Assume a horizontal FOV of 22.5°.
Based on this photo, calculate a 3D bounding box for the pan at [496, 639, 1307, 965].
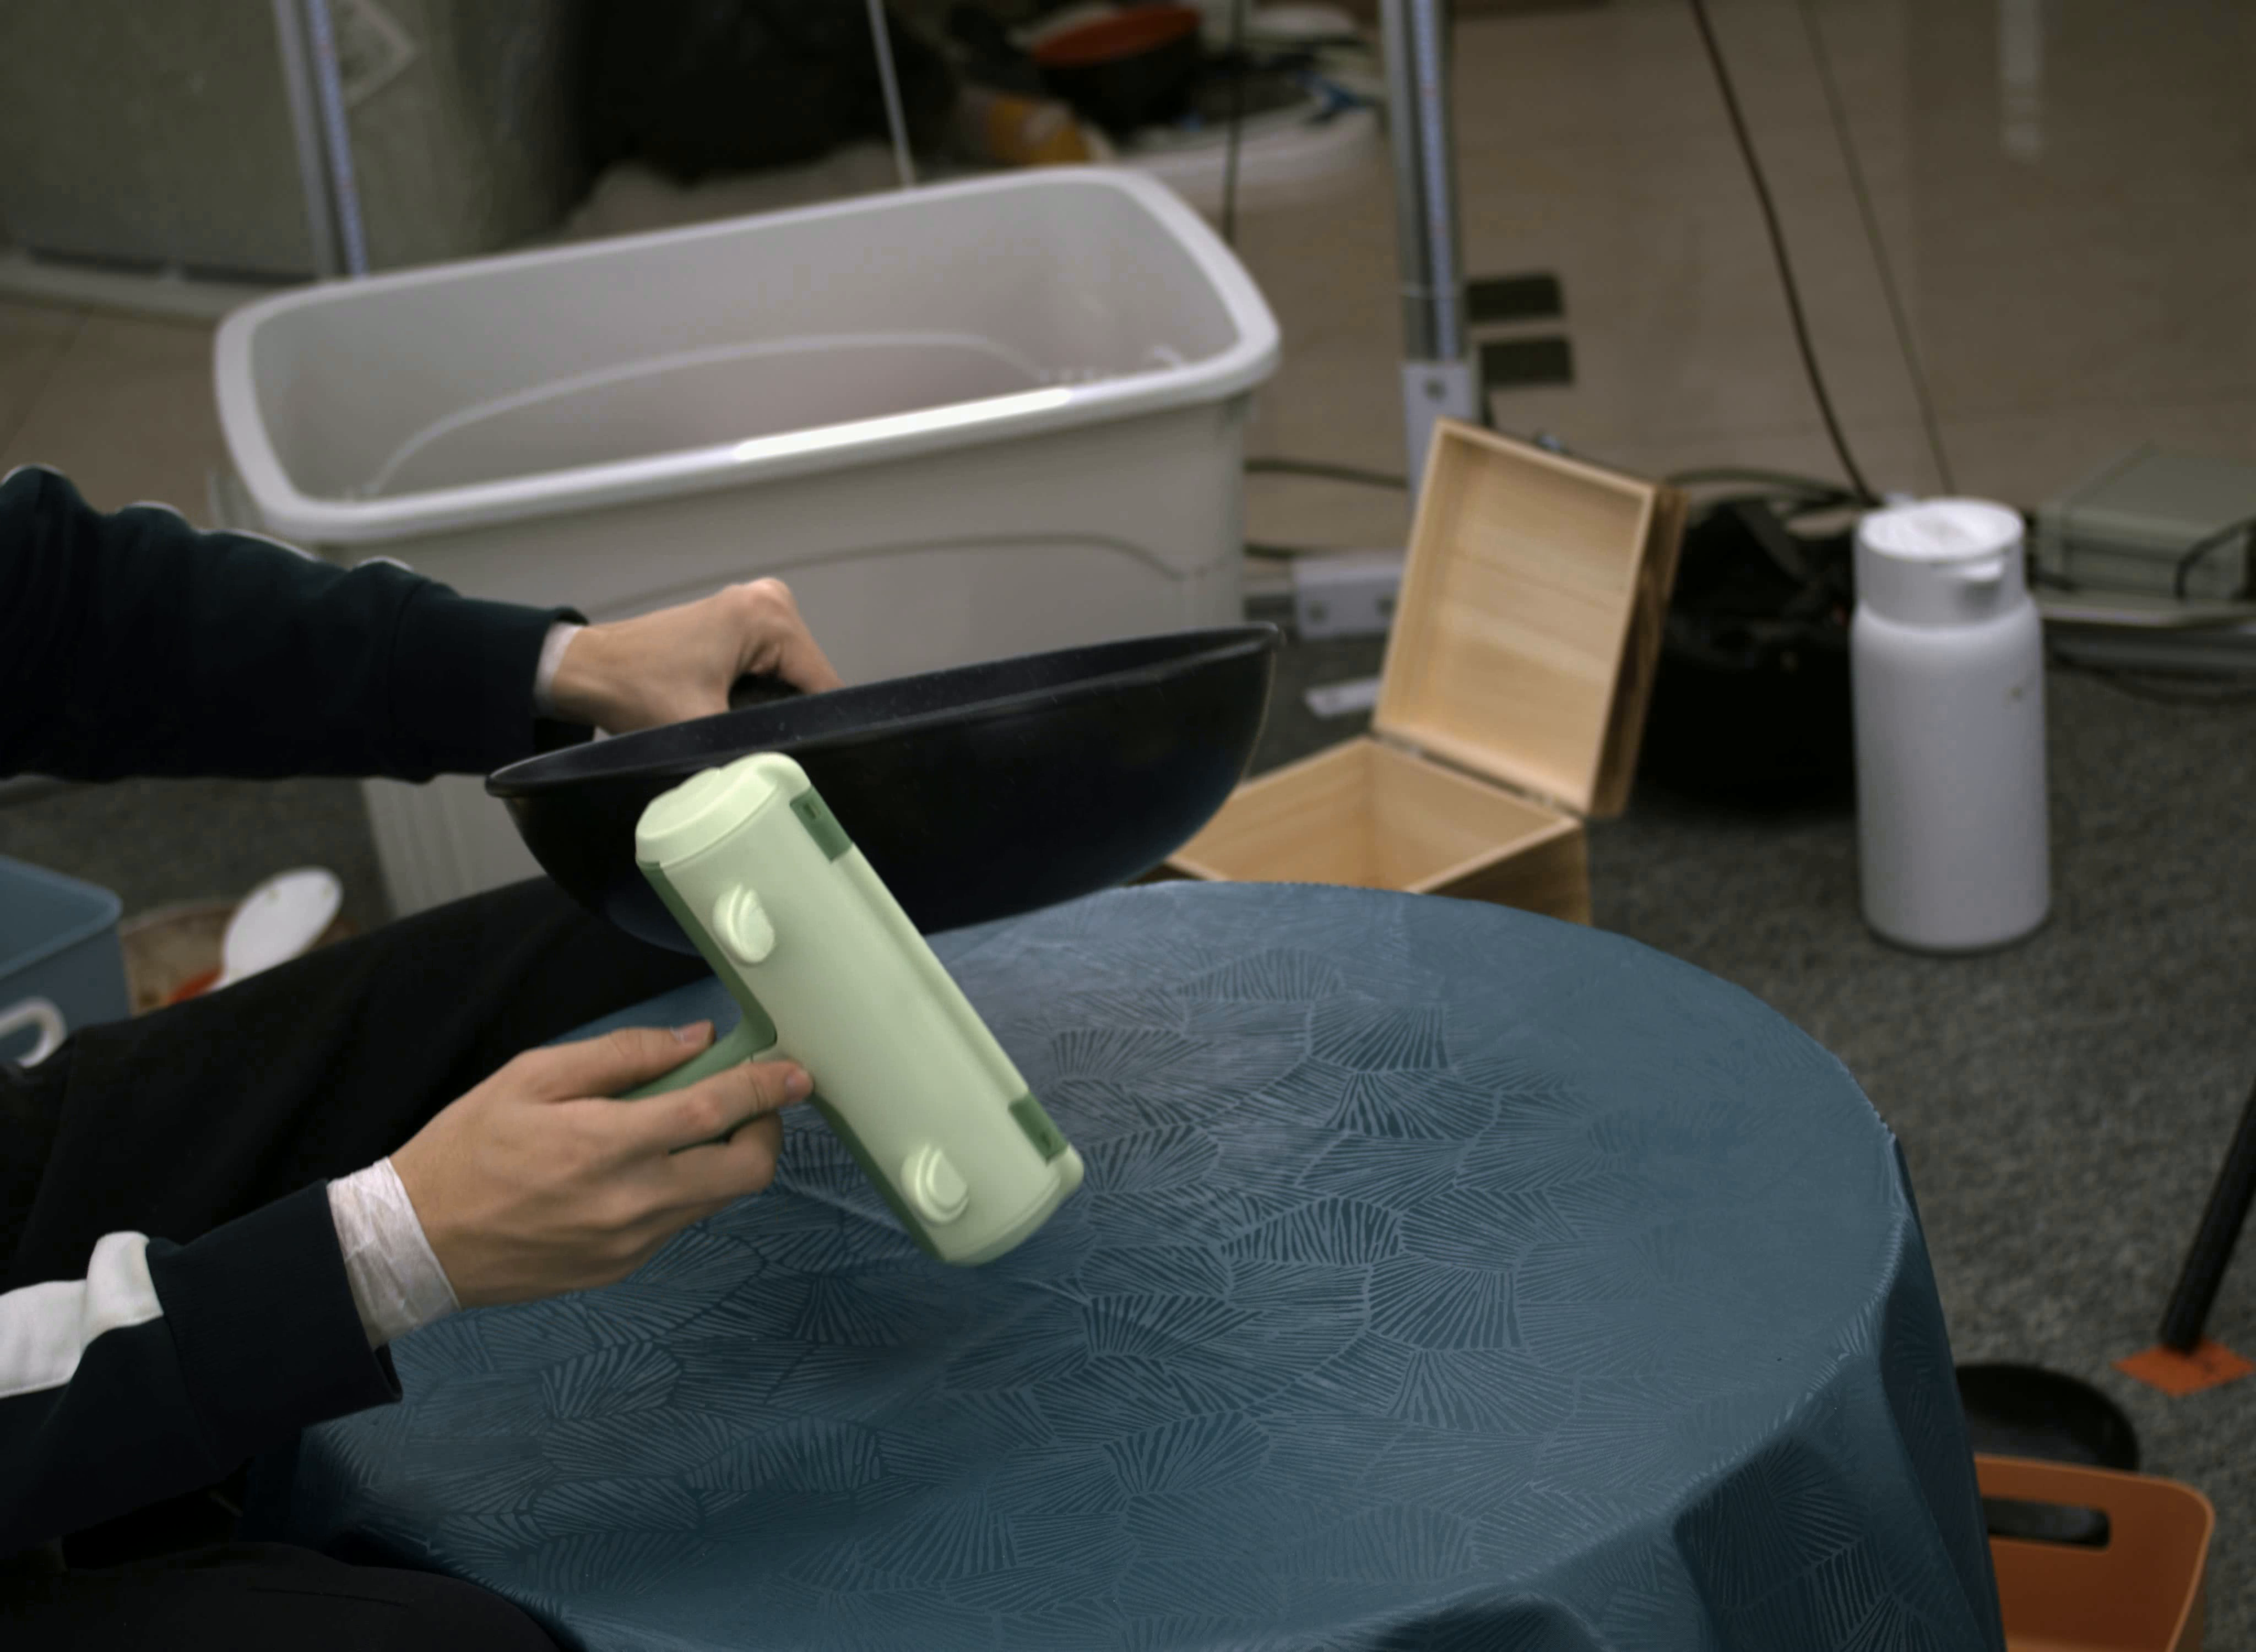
[{"bbox_3d":[-0.108,-0.016,2.219,0.309,0.112,0.475,-10,6,-18],"label":"pan"}]

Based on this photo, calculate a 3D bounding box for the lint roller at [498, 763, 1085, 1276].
[{"bbox_3d":[-0.140,0.101,1.951,0.183,0.201,0.081,-33,20,6],"label":"lint roller"}]
